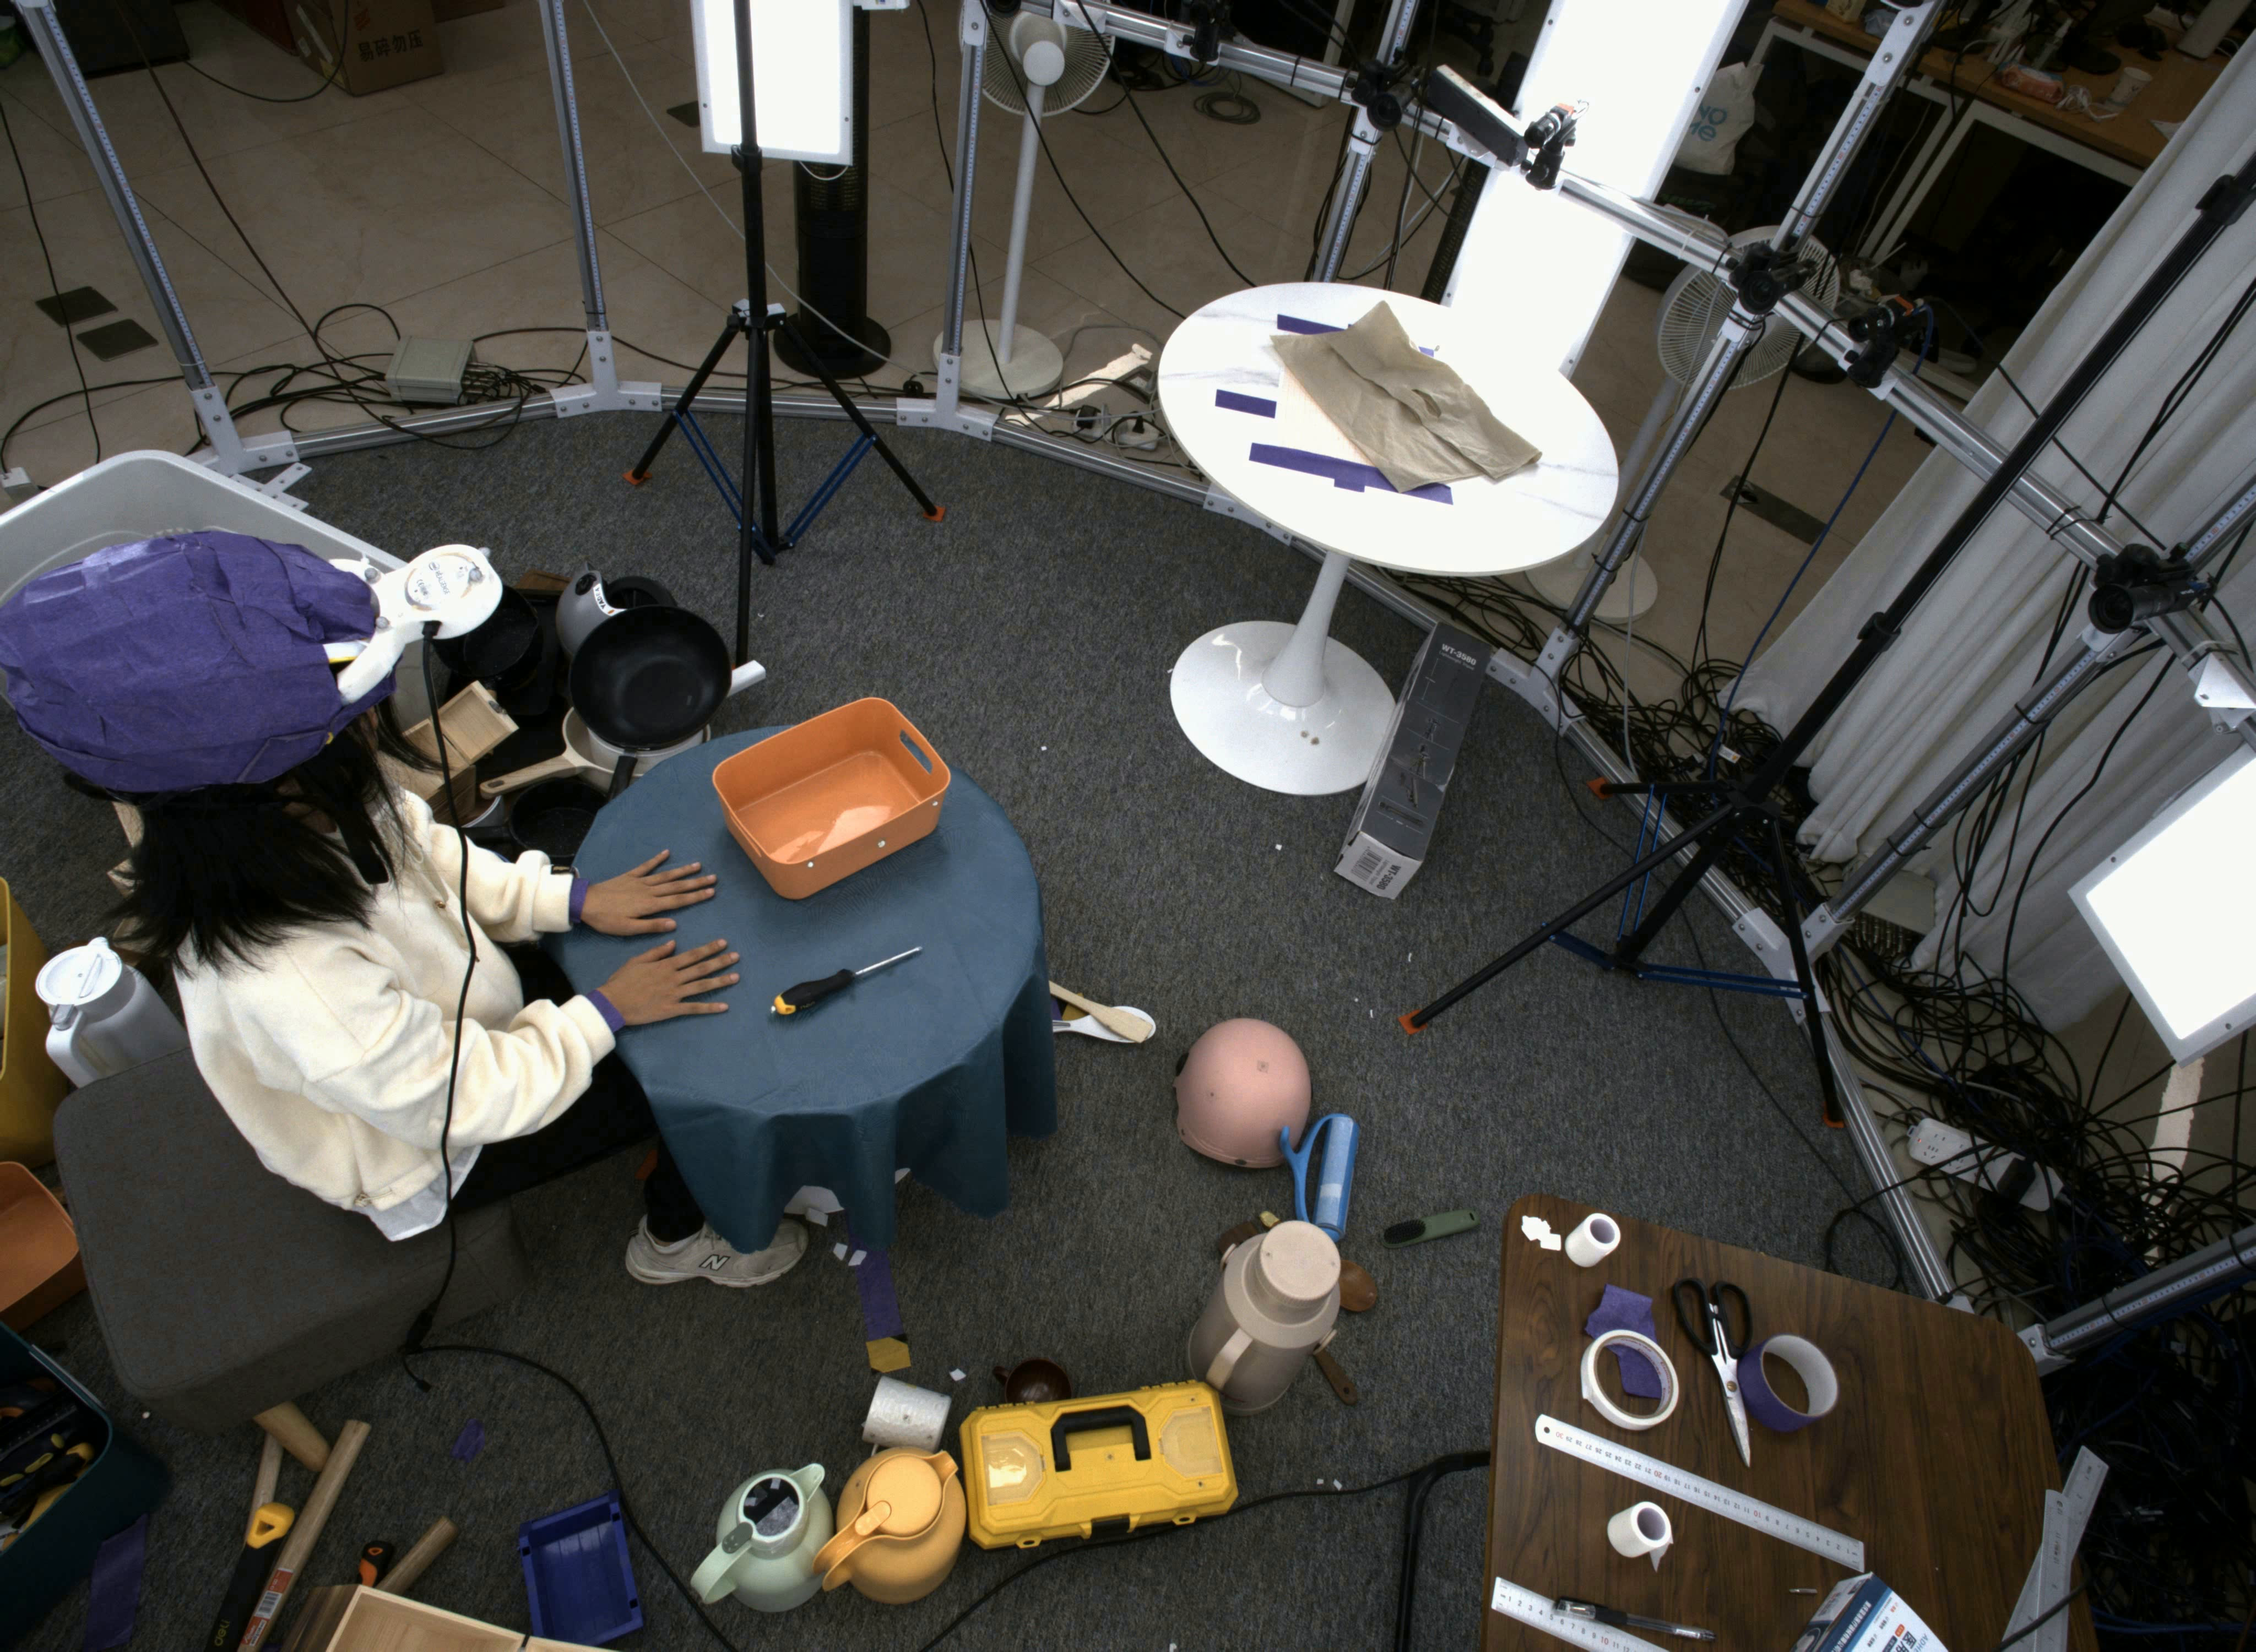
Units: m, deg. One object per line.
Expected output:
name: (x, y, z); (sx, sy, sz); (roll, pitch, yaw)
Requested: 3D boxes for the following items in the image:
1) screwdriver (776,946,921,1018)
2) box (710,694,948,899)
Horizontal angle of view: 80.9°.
screwdriver: (-0.337, 0.187, 1.589); (0.197, 0.032, 0.030); (-19, 59, -31)
box: (-0.388, -0.038, 1.689); (0.274, 0.104, 0.195); (-30, 66, -31)
